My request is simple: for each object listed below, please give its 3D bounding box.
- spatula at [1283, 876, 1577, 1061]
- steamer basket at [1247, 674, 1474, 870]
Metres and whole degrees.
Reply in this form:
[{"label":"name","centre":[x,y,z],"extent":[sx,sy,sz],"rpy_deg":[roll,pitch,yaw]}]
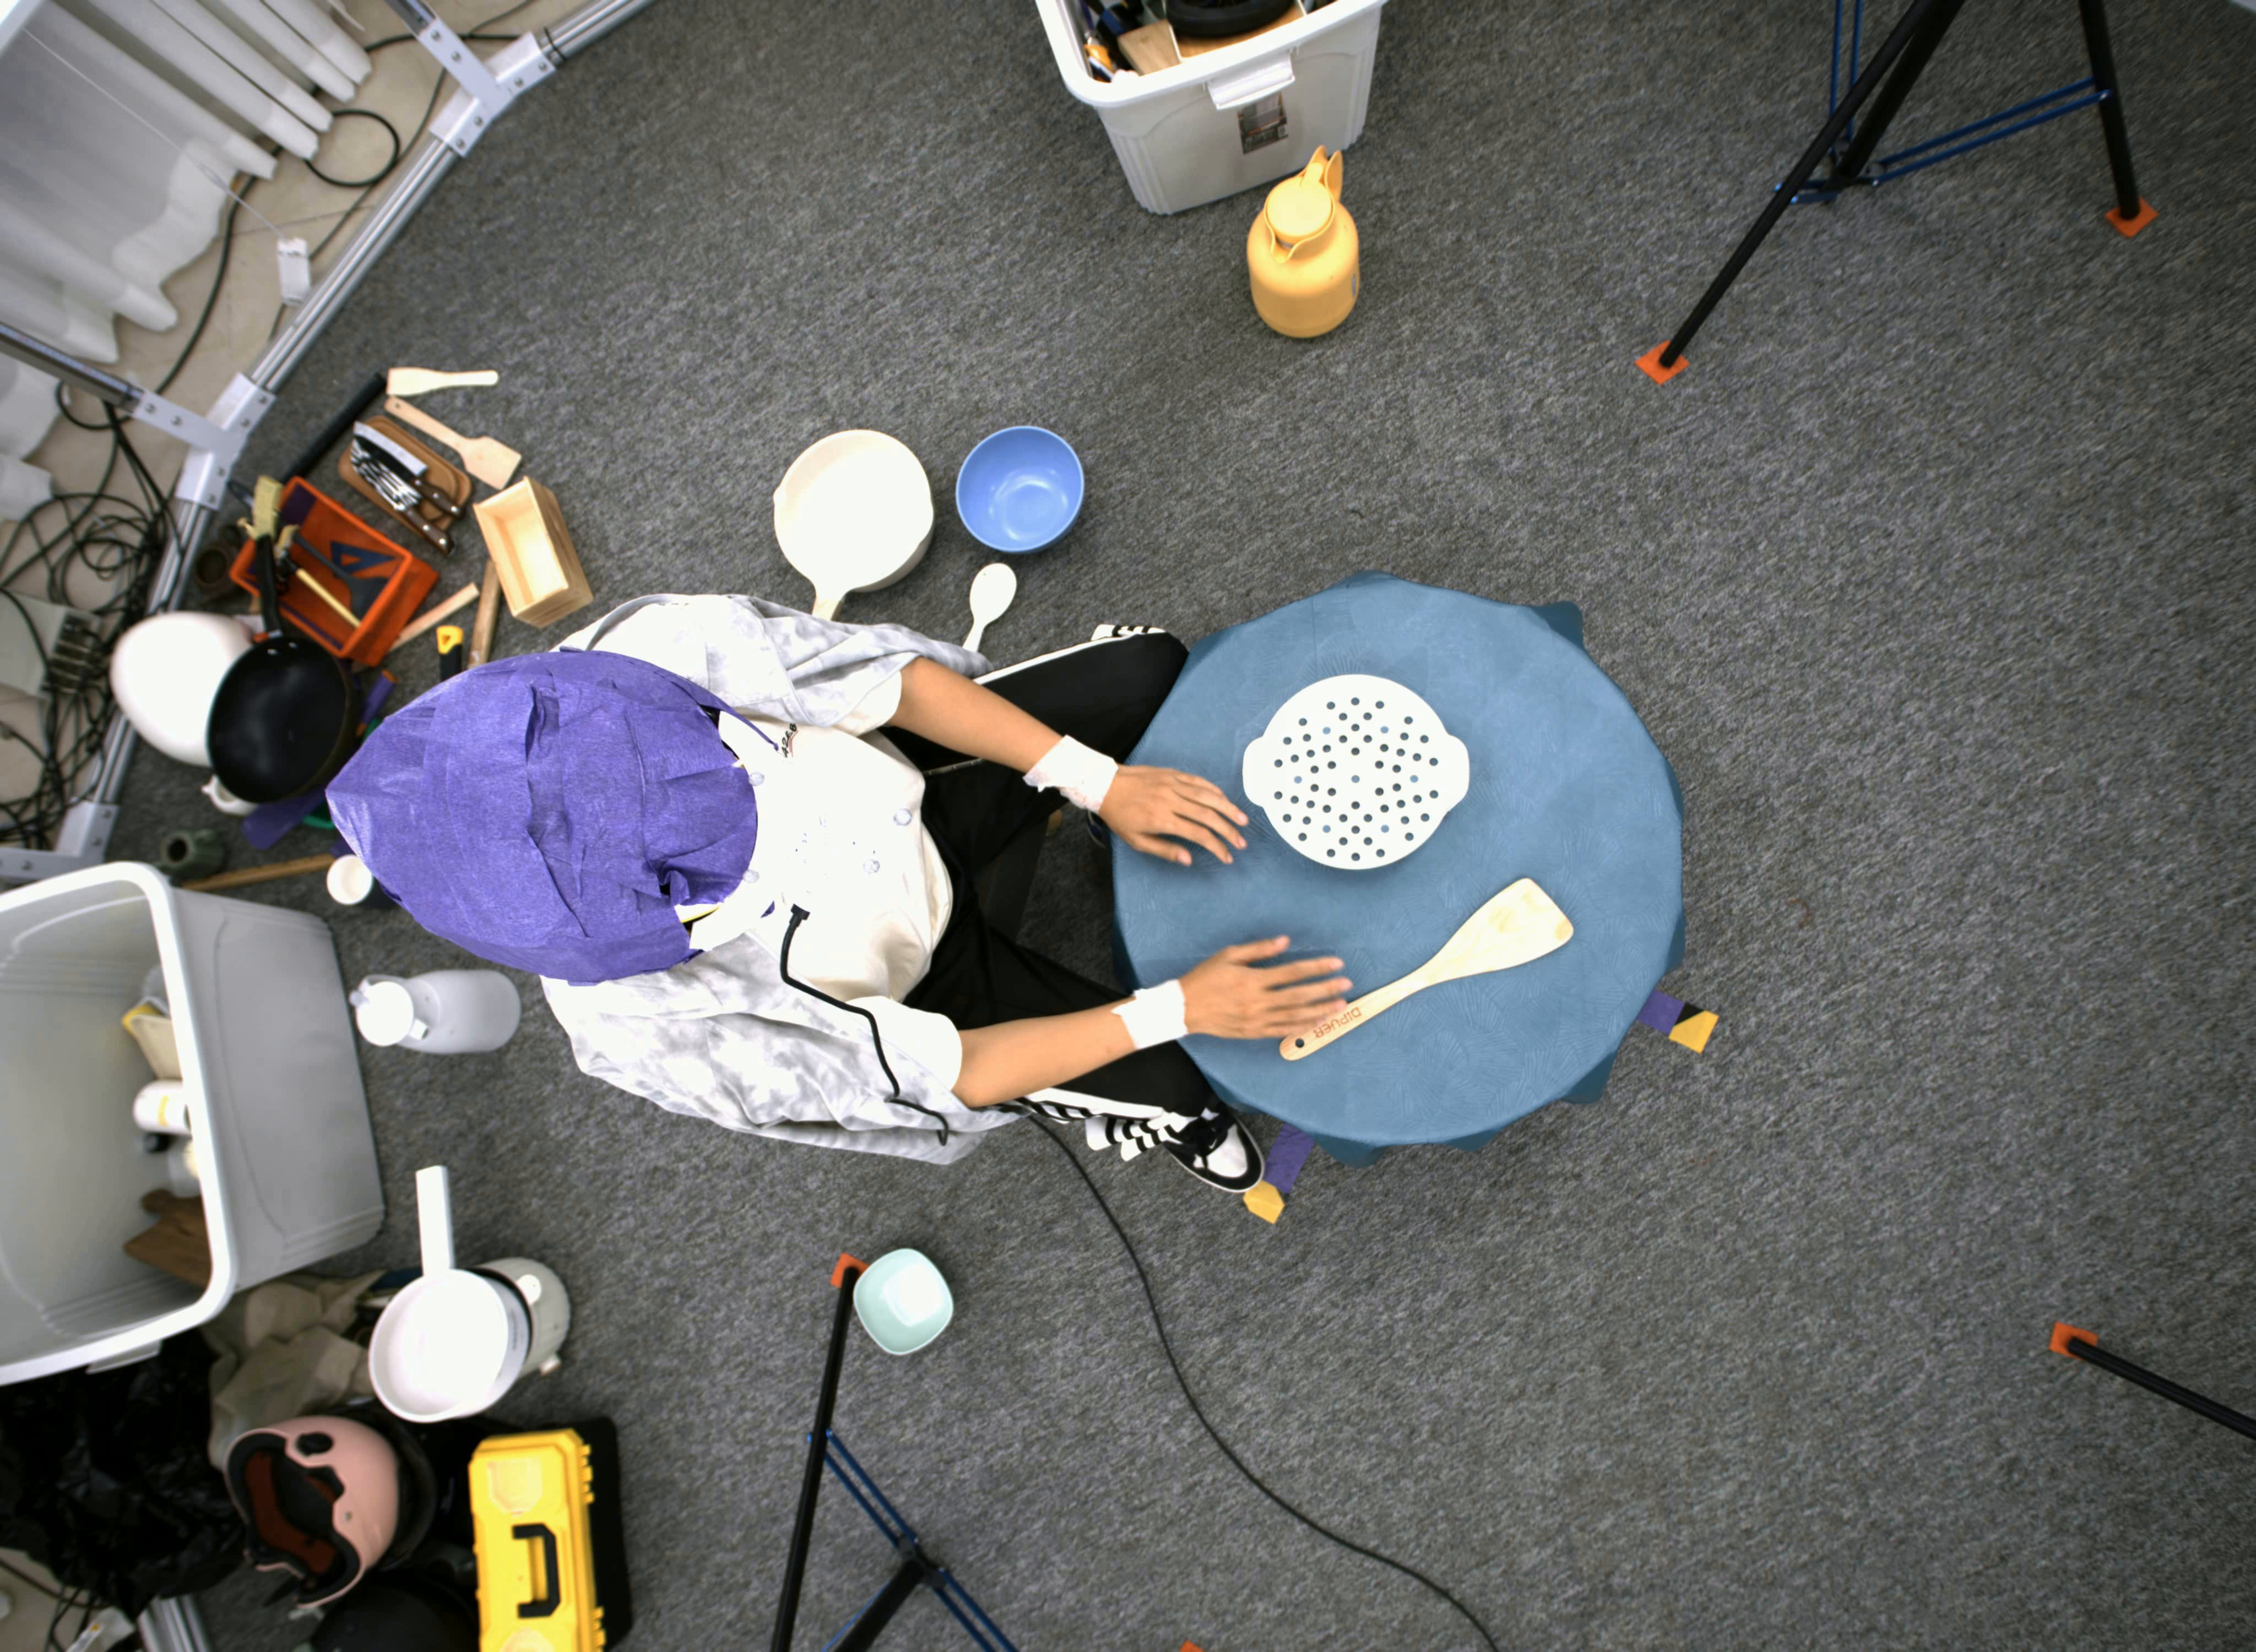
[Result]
[{"label":"spatula","centre":[0.305,0.156,1.438],"extent":[0.329,0.016,0.079],"rpy_deg":[-30,81,8]},{"label":"steamer basket","centre":[0.241,-0.055,1.437],"extent":[0.231,0.069,0.201],"rpy_deg":[0,85,12]}]
